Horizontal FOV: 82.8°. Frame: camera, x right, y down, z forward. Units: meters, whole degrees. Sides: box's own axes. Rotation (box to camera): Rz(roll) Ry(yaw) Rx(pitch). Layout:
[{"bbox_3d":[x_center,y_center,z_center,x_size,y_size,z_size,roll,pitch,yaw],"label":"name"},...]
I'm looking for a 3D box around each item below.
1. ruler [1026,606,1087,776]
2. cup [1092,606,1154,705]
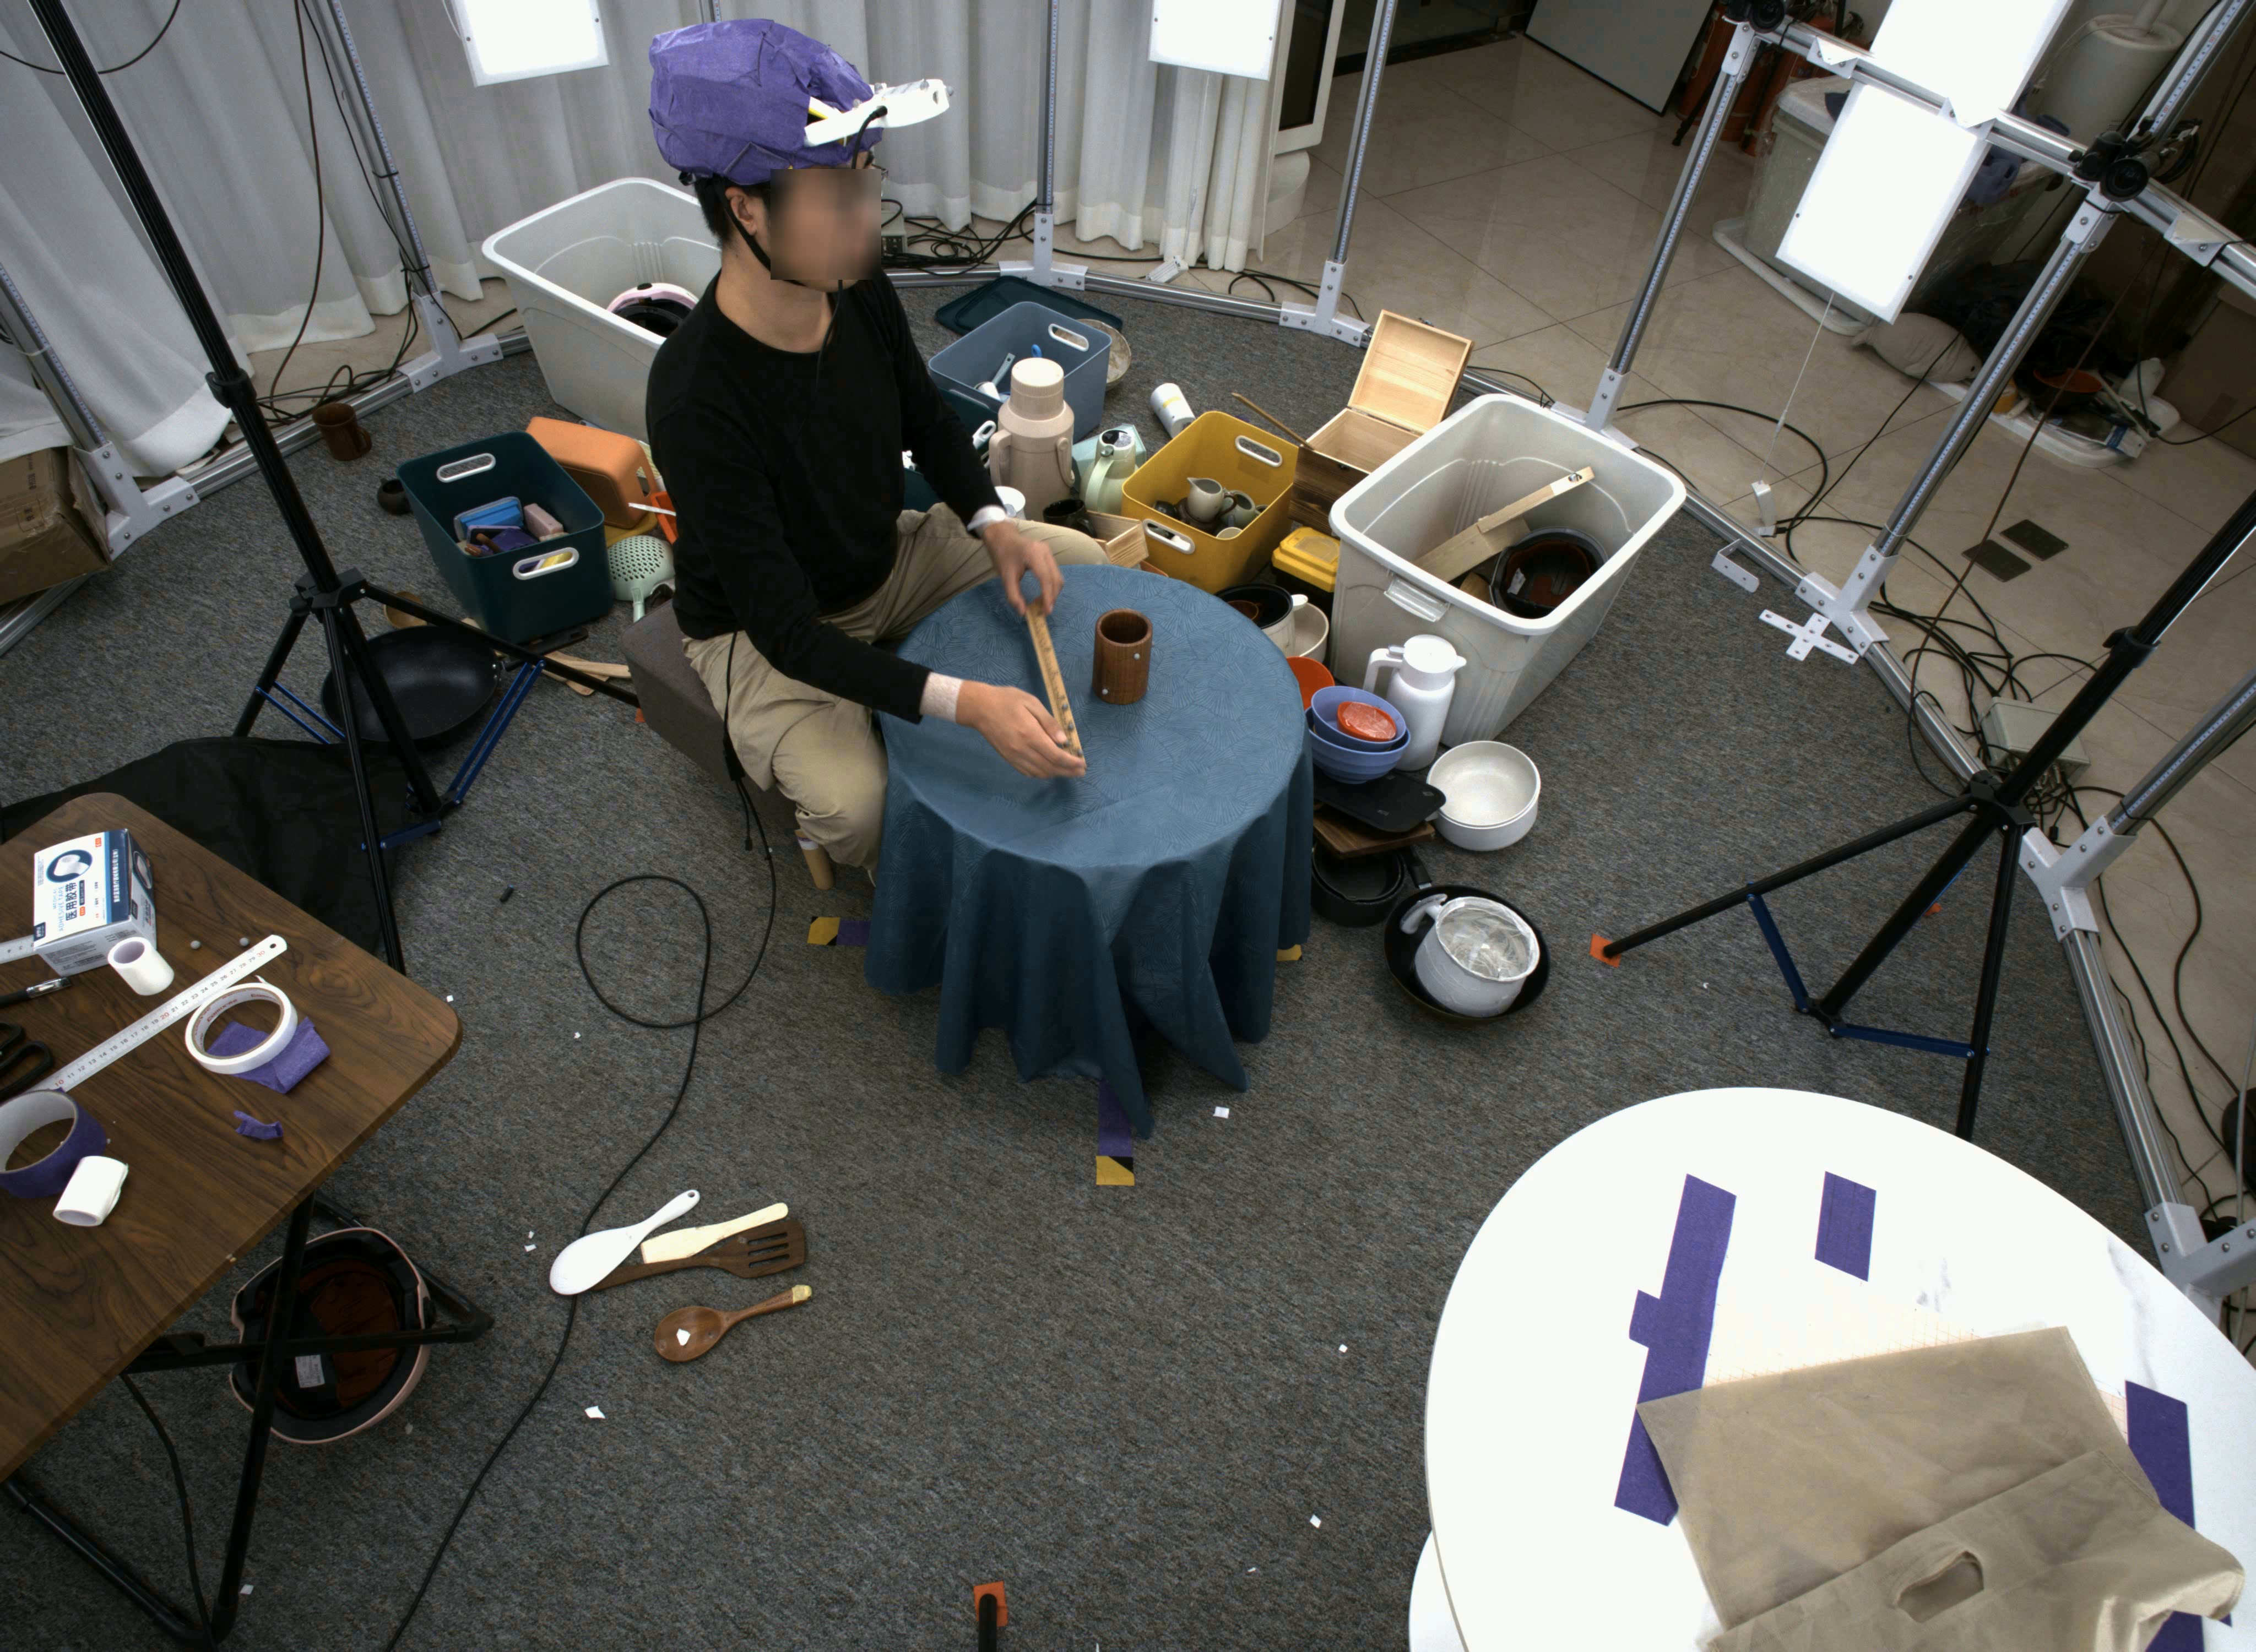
[{"bbox_3d":[-0.103,-0.196,1.782,0.027,0.021,0.340,-8,50,-9],"label":"ruler"},{"bbox_3d":[-0.008,-0.238,1.801,0.087,0.115,0.090,2,48,-3],"label":"cup"}]
